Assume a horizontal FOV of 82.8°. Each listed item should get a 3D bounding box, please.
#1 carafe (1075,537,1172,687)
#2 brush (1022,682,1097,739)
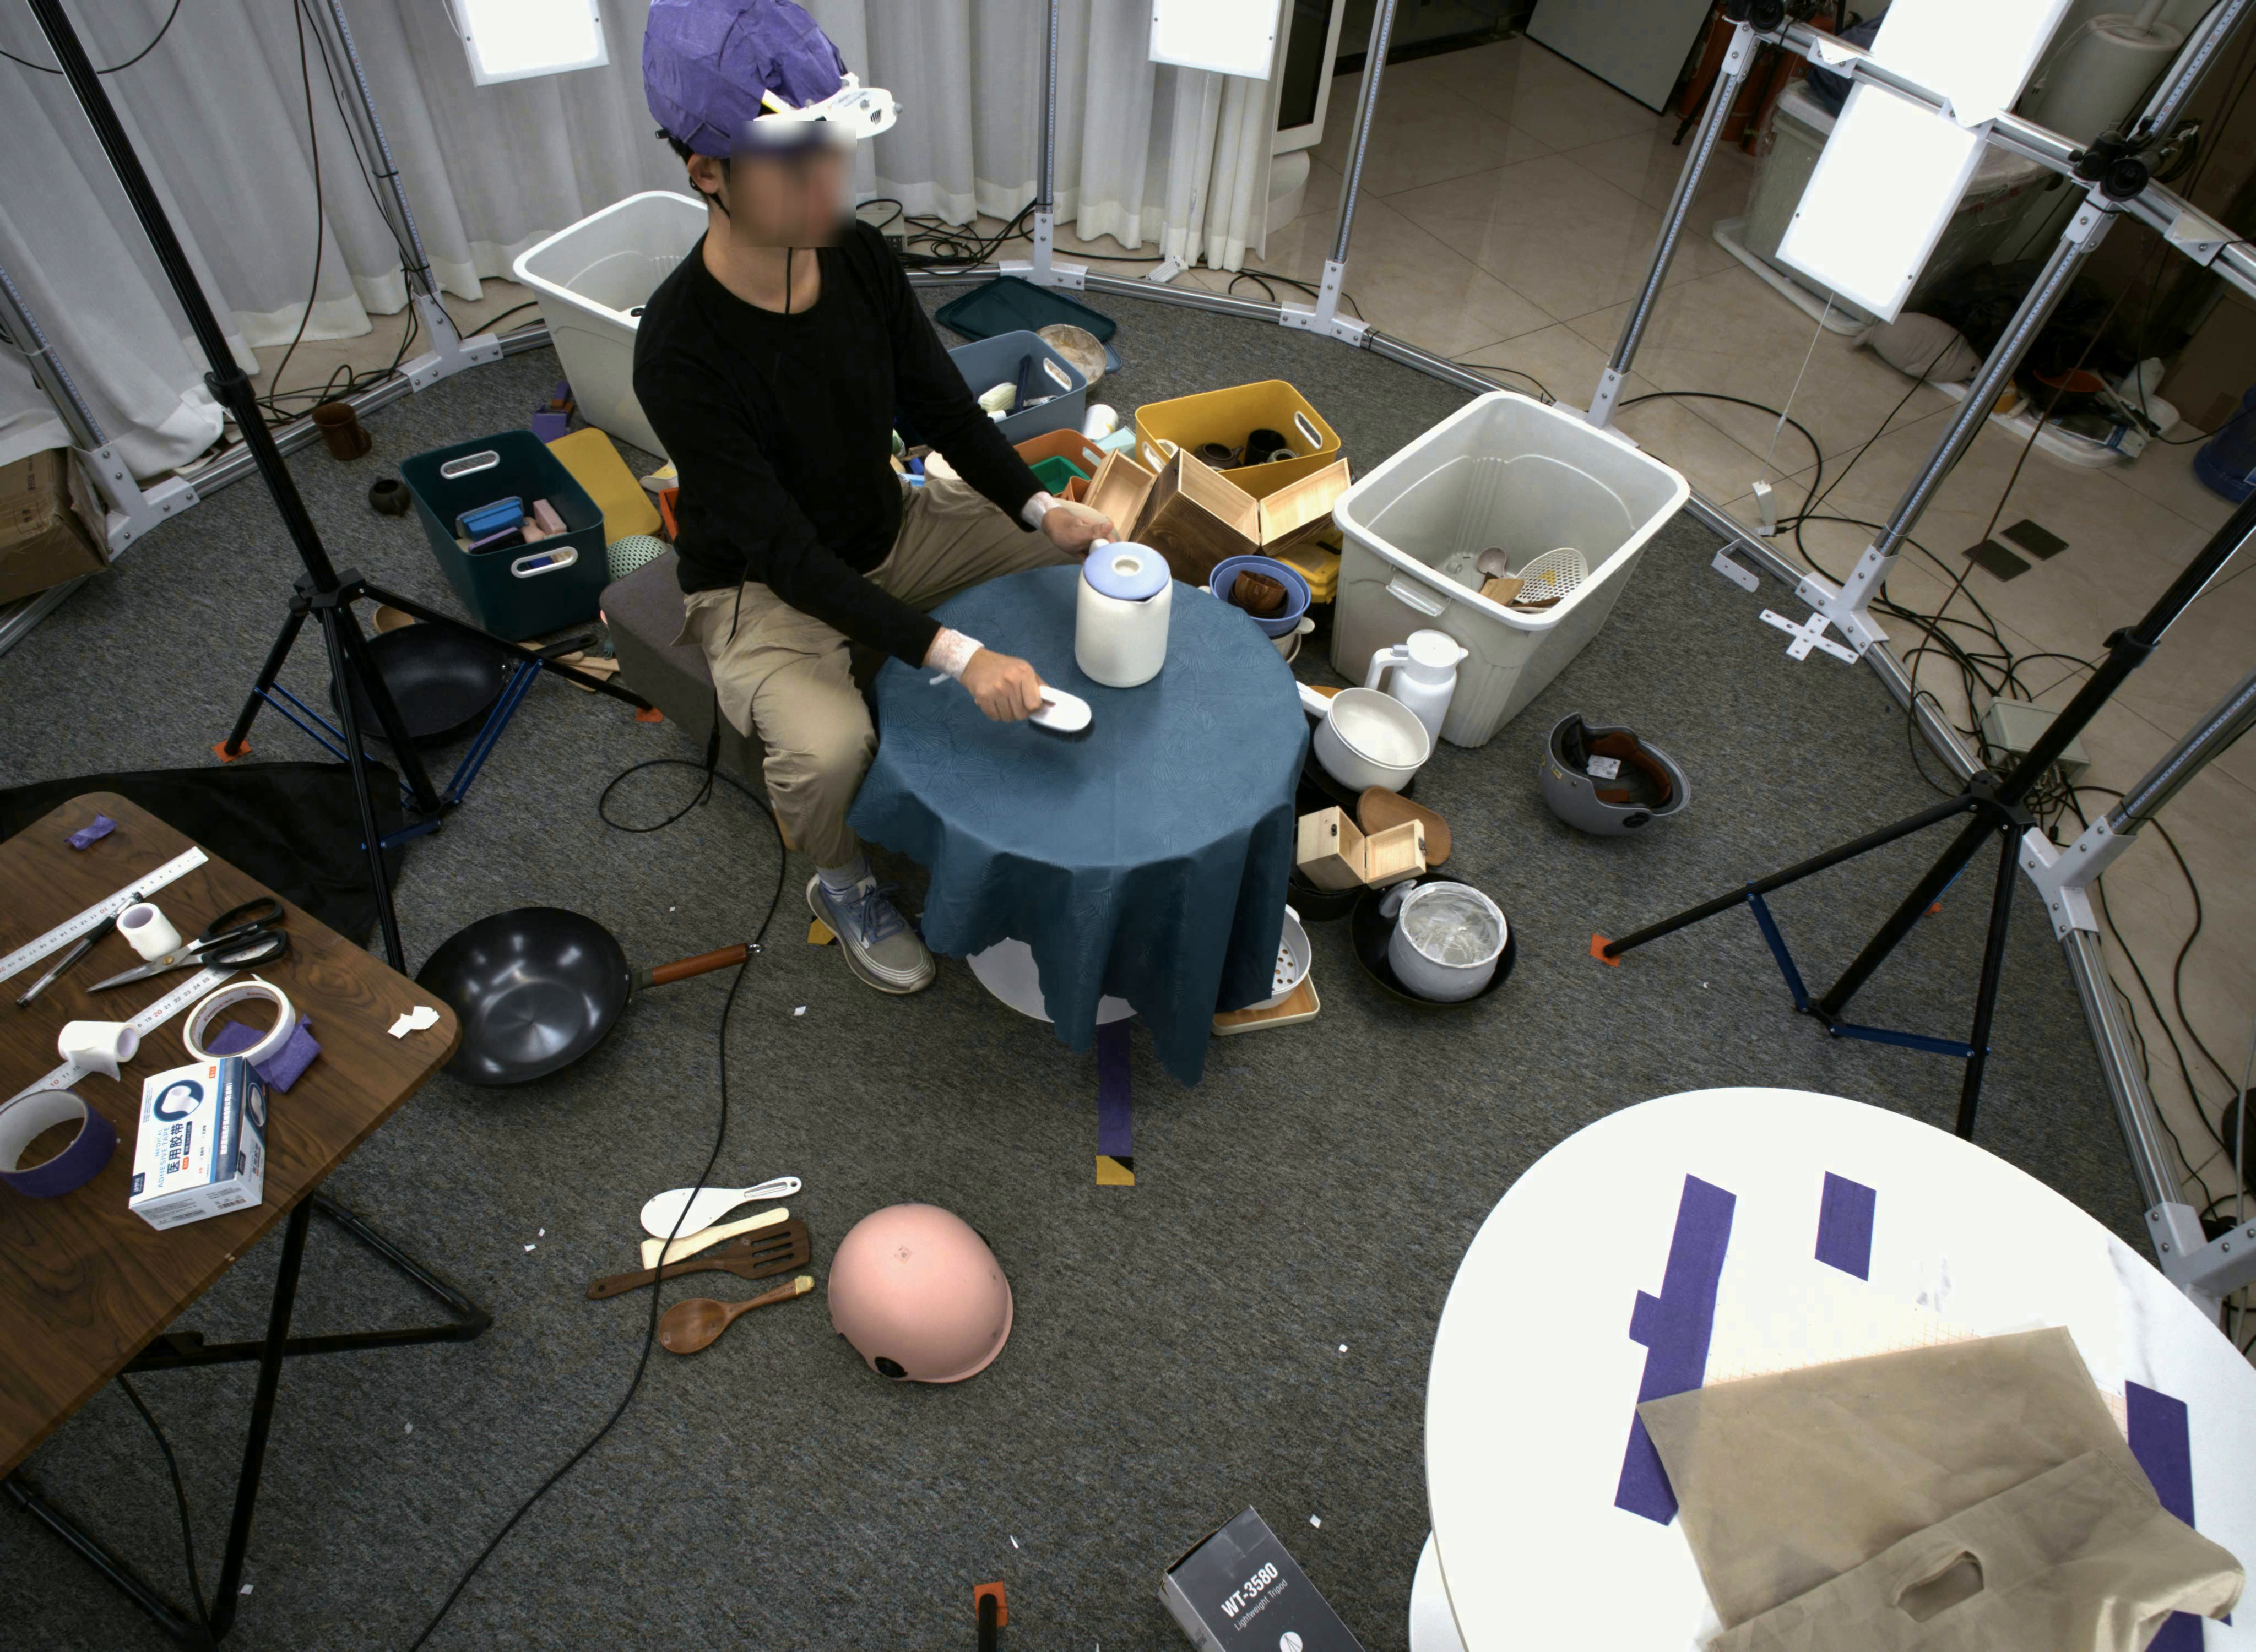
[{"bbox_3d":[-0.017,-0.317,1.833,0.132,0.178,0.195,-16,51,-17],"label":"carafe"},{"bbox_3d":[-0.095,-0.161,1.695,0.100,0.071,0.051,21,70,25],"label":"brush"}]
